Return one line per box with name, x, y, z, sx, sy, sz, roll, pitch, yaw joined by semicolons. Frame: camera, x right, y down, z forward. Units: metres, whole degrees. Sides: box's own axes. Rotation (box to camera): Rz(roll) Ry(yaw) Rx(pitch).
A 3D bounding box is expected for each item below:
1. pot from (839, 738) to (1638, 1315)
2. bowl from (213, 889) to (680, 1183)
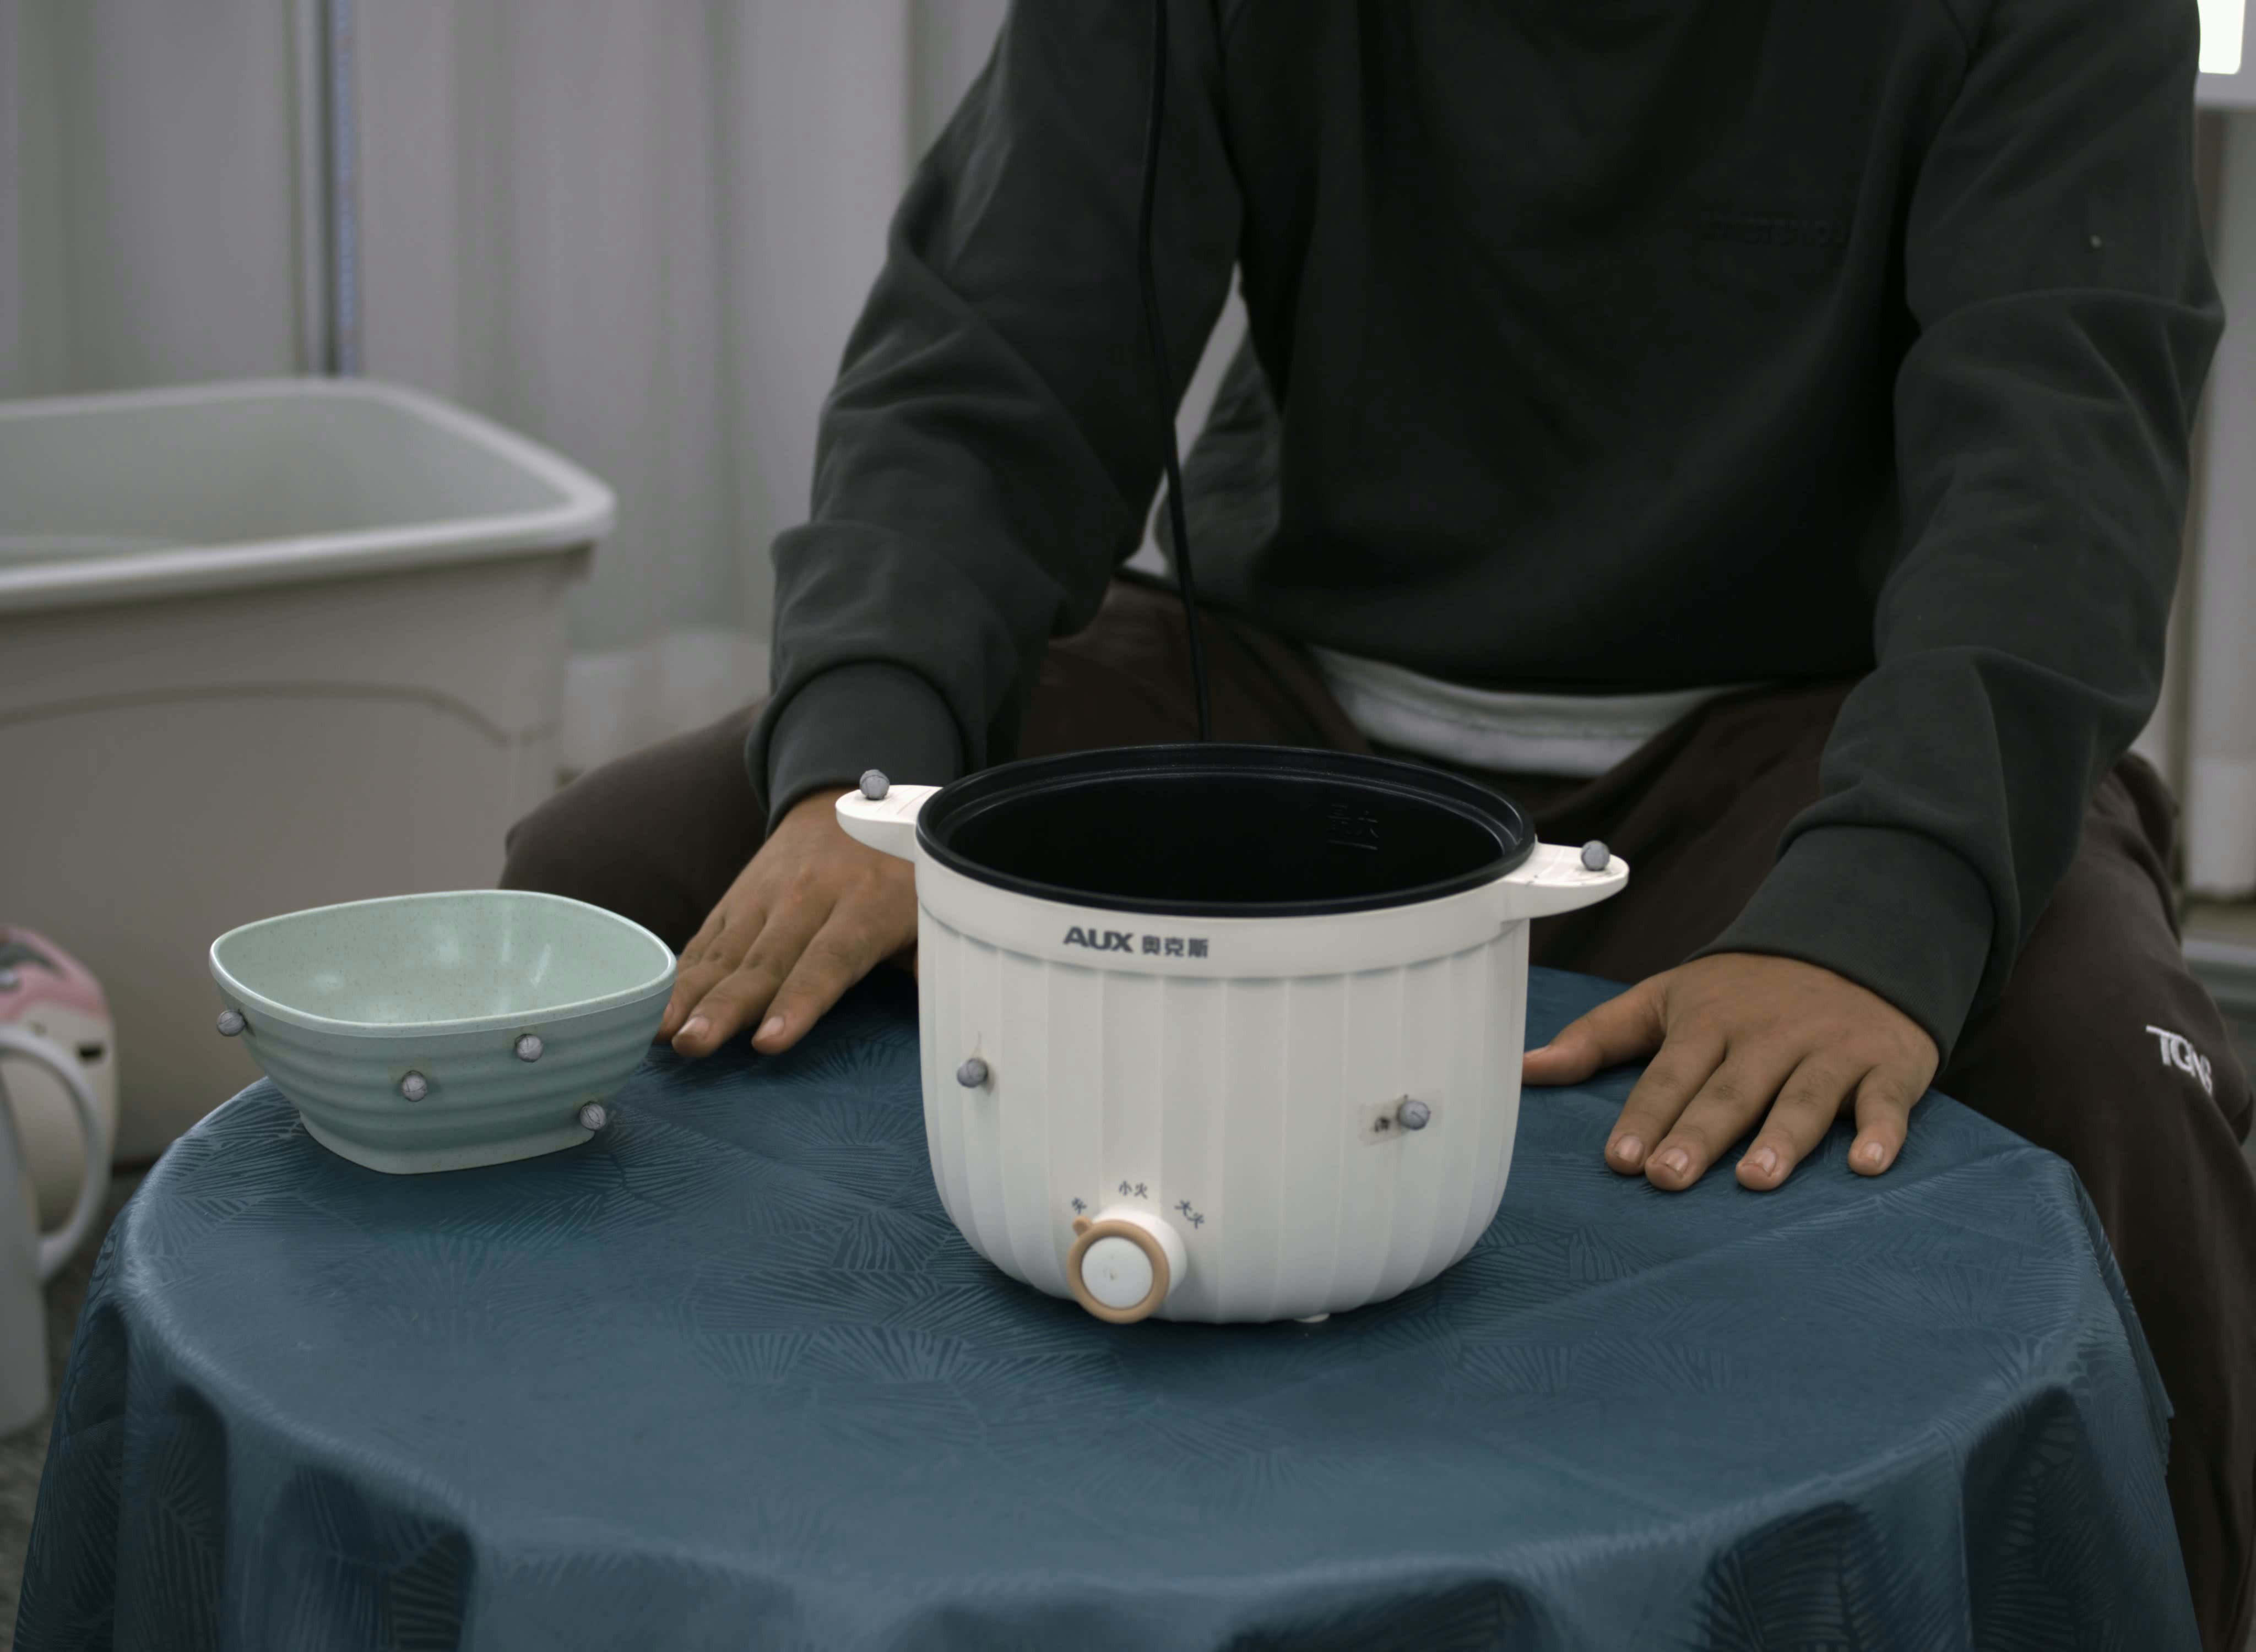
pot;0.030;0.062;1.546;0.238;0.143;0.190;3;13;15
bowl;-0.216;0.069;1.668;0.151;0.059;0.150;2;17;0
